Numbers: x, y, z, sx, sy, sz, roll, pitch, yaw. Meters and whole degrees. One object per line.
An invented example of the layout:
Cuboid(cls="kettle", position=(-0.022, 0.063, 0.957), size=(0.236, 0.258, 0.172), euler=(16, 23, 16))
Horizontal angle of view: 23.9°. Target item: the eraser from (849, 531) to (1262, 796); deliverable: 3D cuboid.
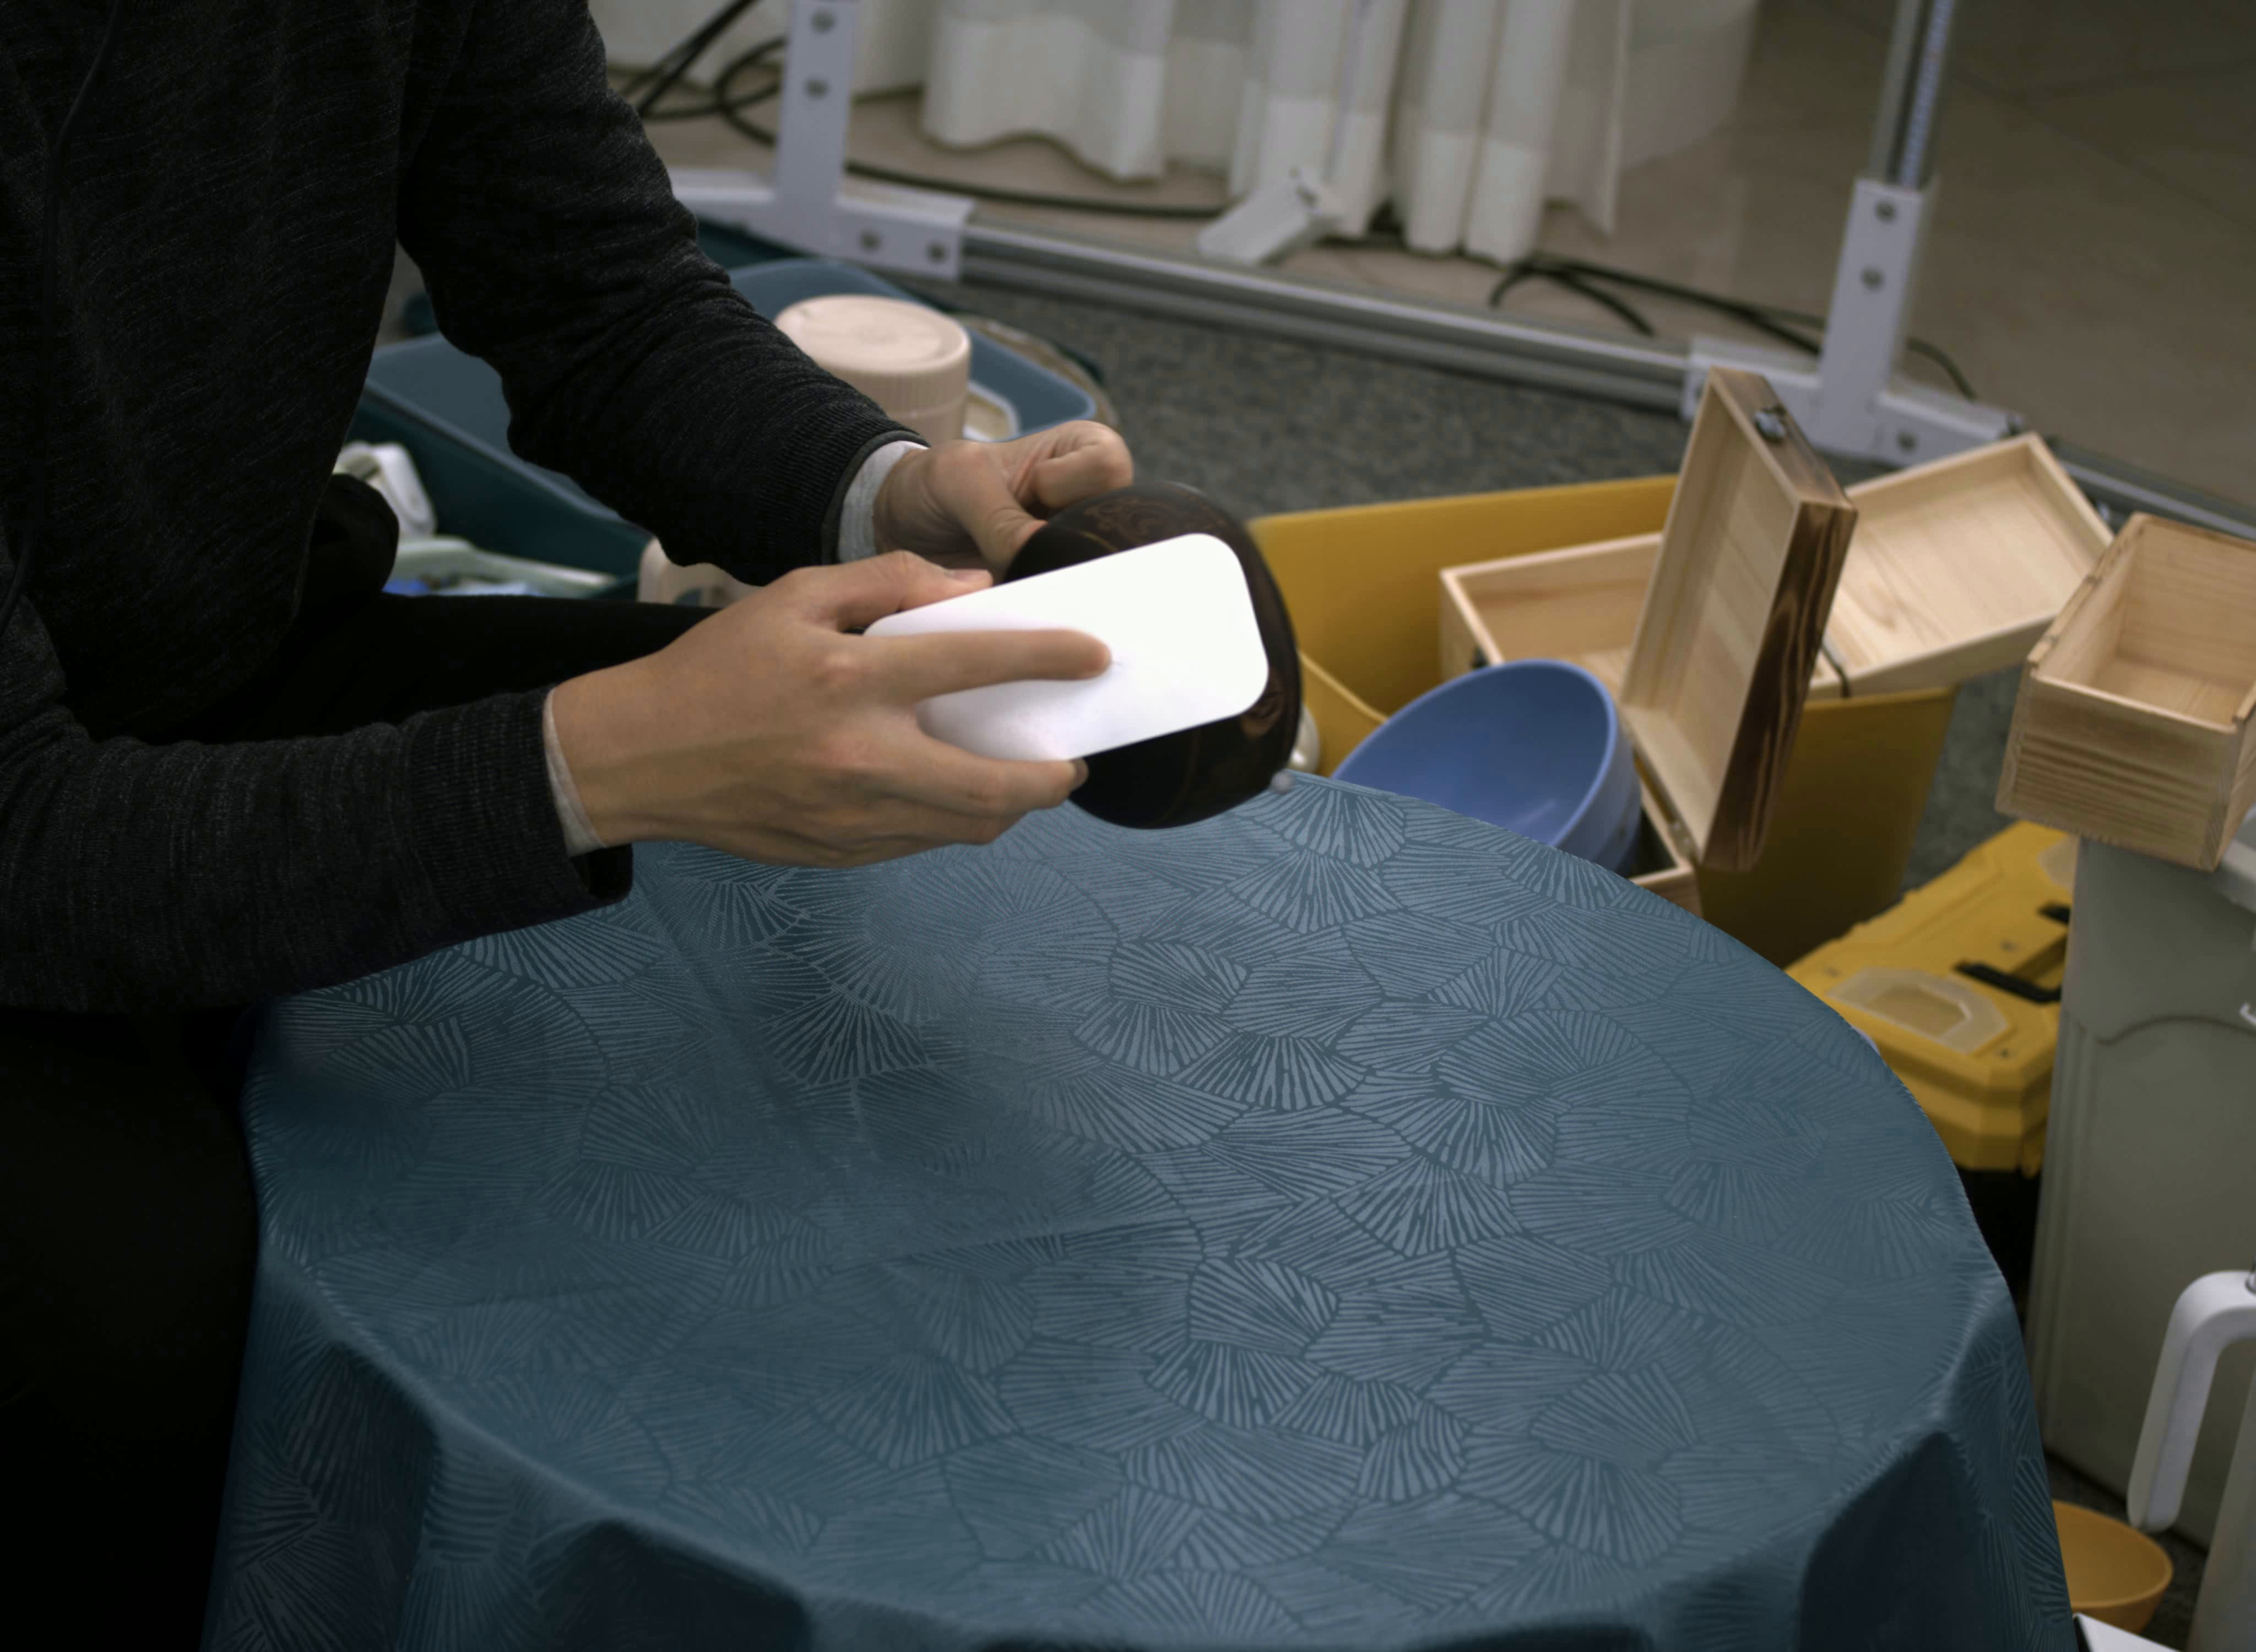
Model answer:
Cuboid(cls="eraser", position=(-0.024, -0.054, 1.732), size=(0.131, 0.063, 0.034), euler=(-15, -1, 5))

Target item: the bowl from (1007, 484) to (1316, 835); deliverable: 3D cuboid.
Cuboid(cls="bowl", position=(0.000, -0.050, 1.798), size=(0.069, 0.117, 0.119), euler=(-30, 43, -32))
